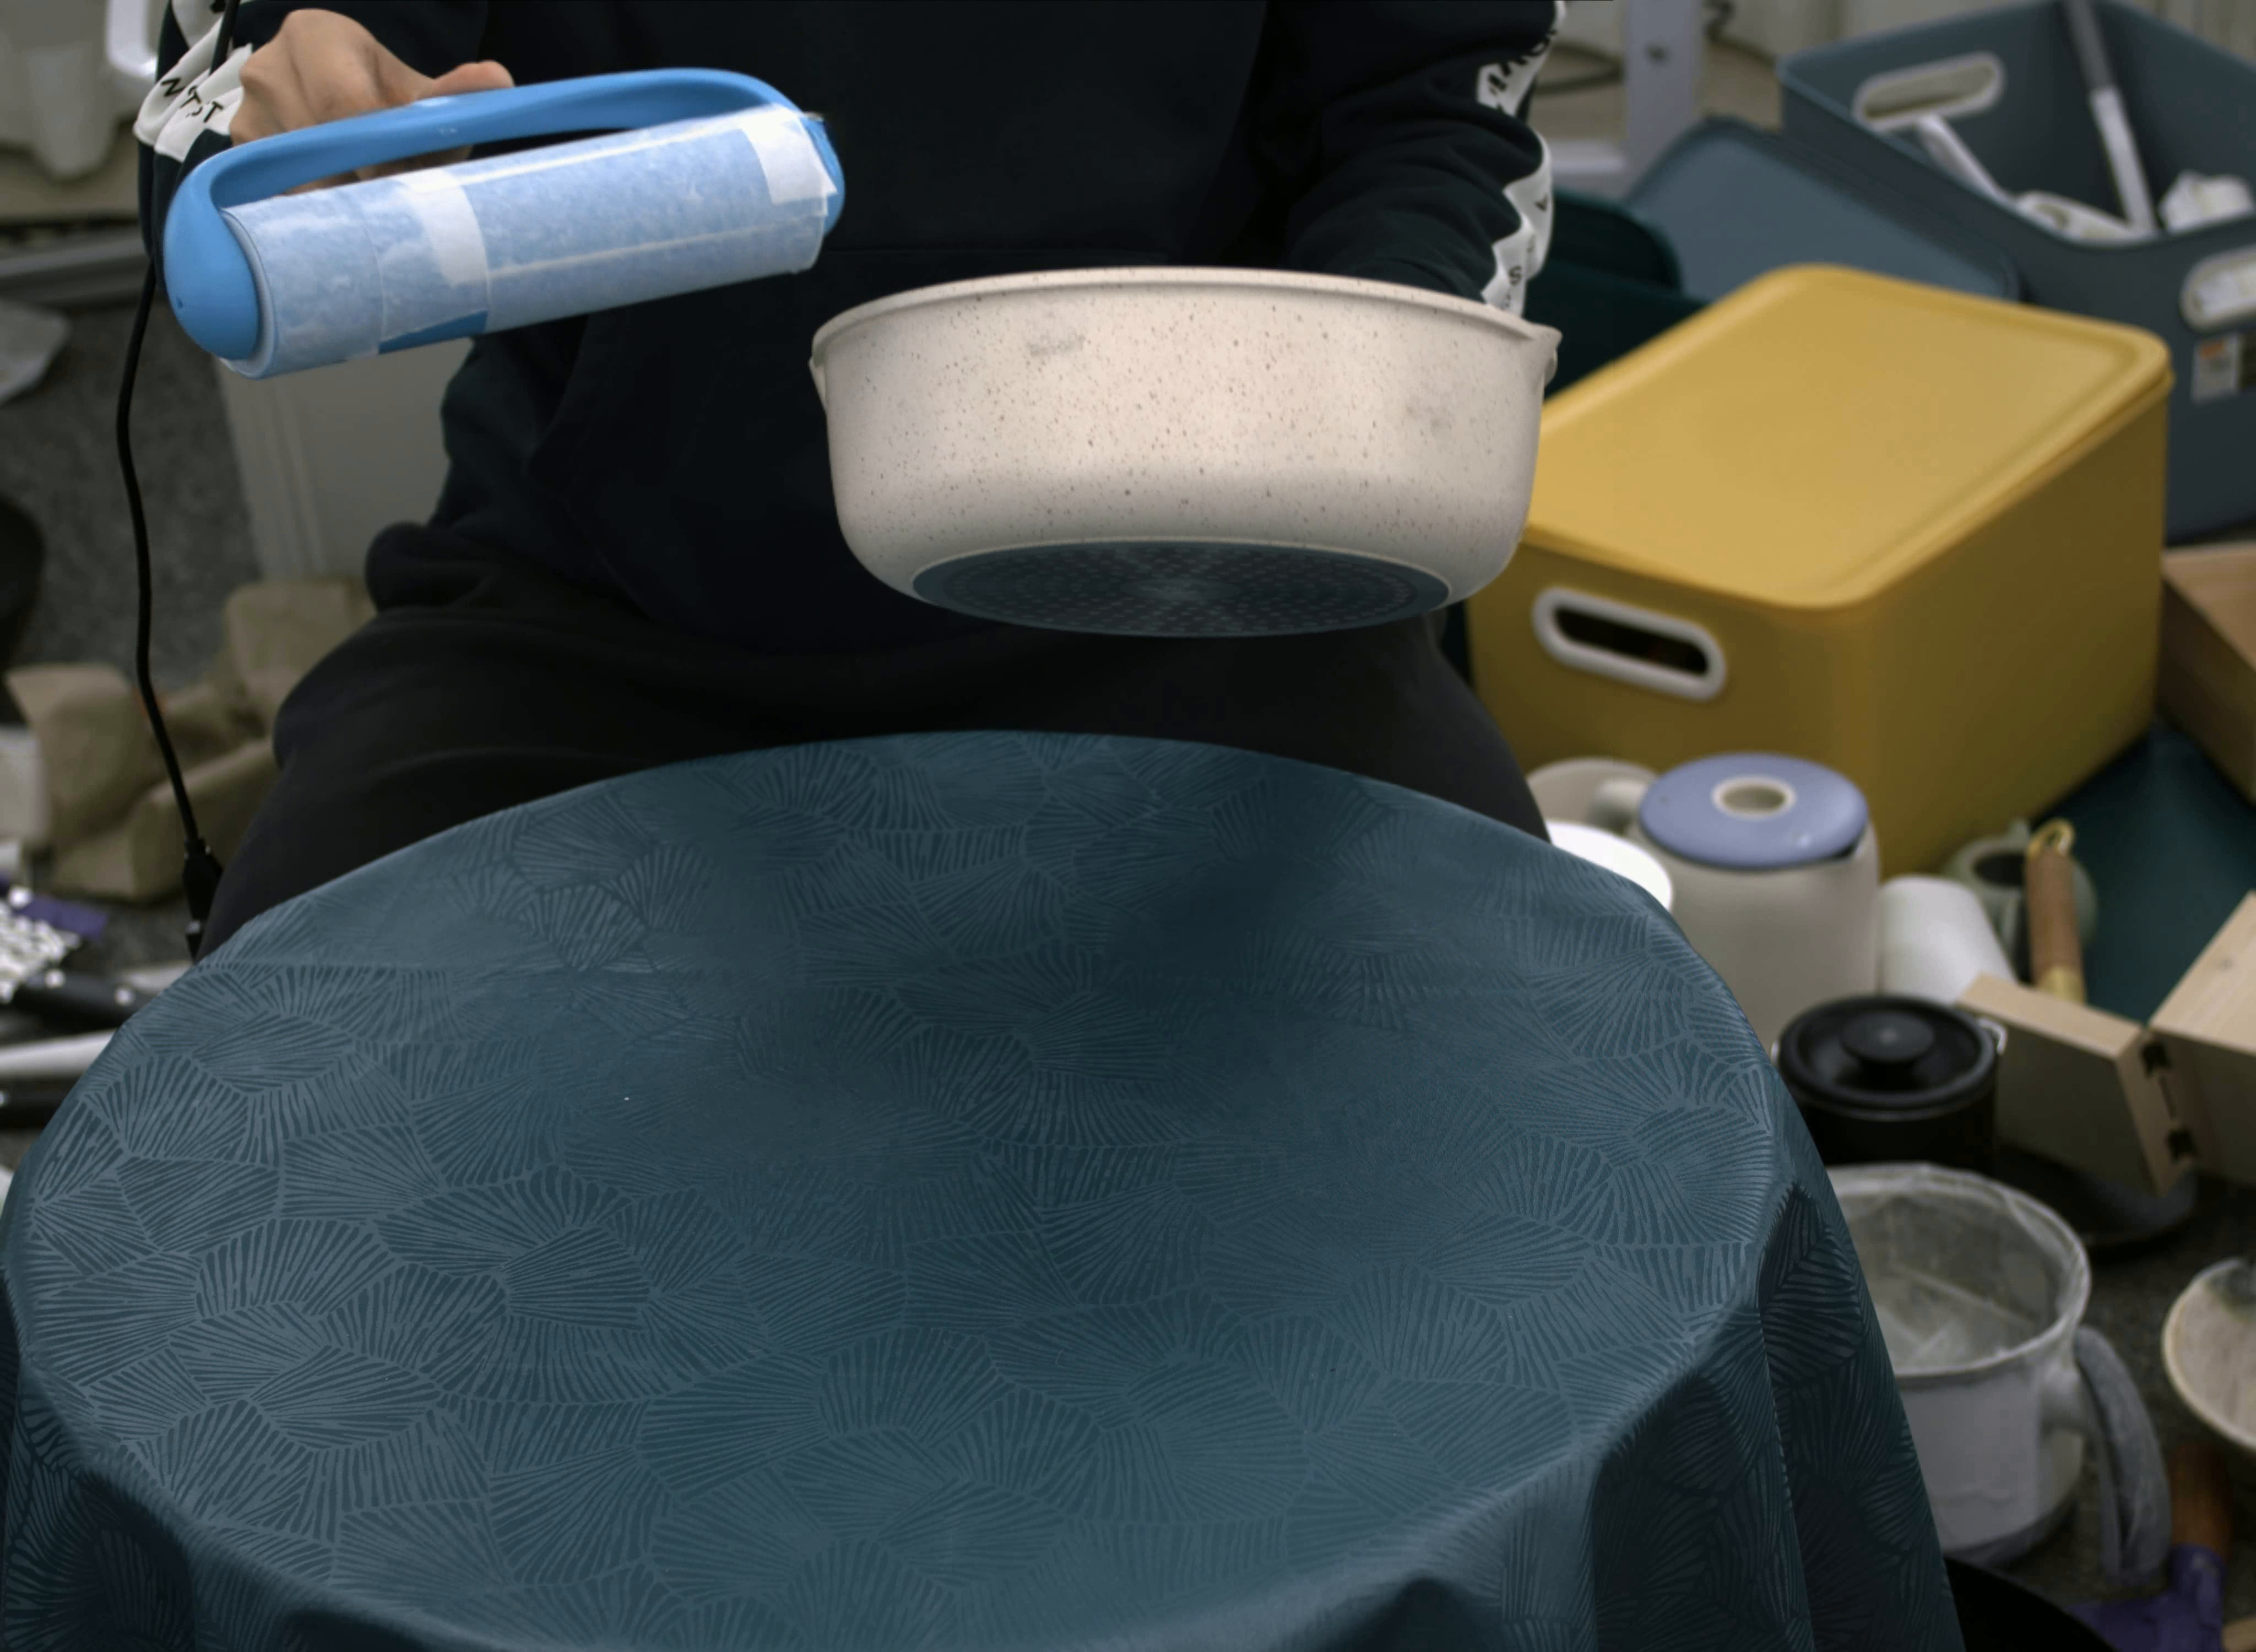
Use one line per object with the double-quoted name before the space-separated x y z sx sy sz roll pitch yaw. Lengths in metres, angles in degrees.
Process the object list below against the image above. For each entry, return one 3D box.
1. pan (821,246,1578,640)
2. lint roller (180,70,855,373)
"pan" 0.051 -0.116 1.980 0.261 0.103 0.434 -3 -10 17
"lint roller" -0.221 -0.201 1.805 0.231 0.067 0.180 -17 25 -33
